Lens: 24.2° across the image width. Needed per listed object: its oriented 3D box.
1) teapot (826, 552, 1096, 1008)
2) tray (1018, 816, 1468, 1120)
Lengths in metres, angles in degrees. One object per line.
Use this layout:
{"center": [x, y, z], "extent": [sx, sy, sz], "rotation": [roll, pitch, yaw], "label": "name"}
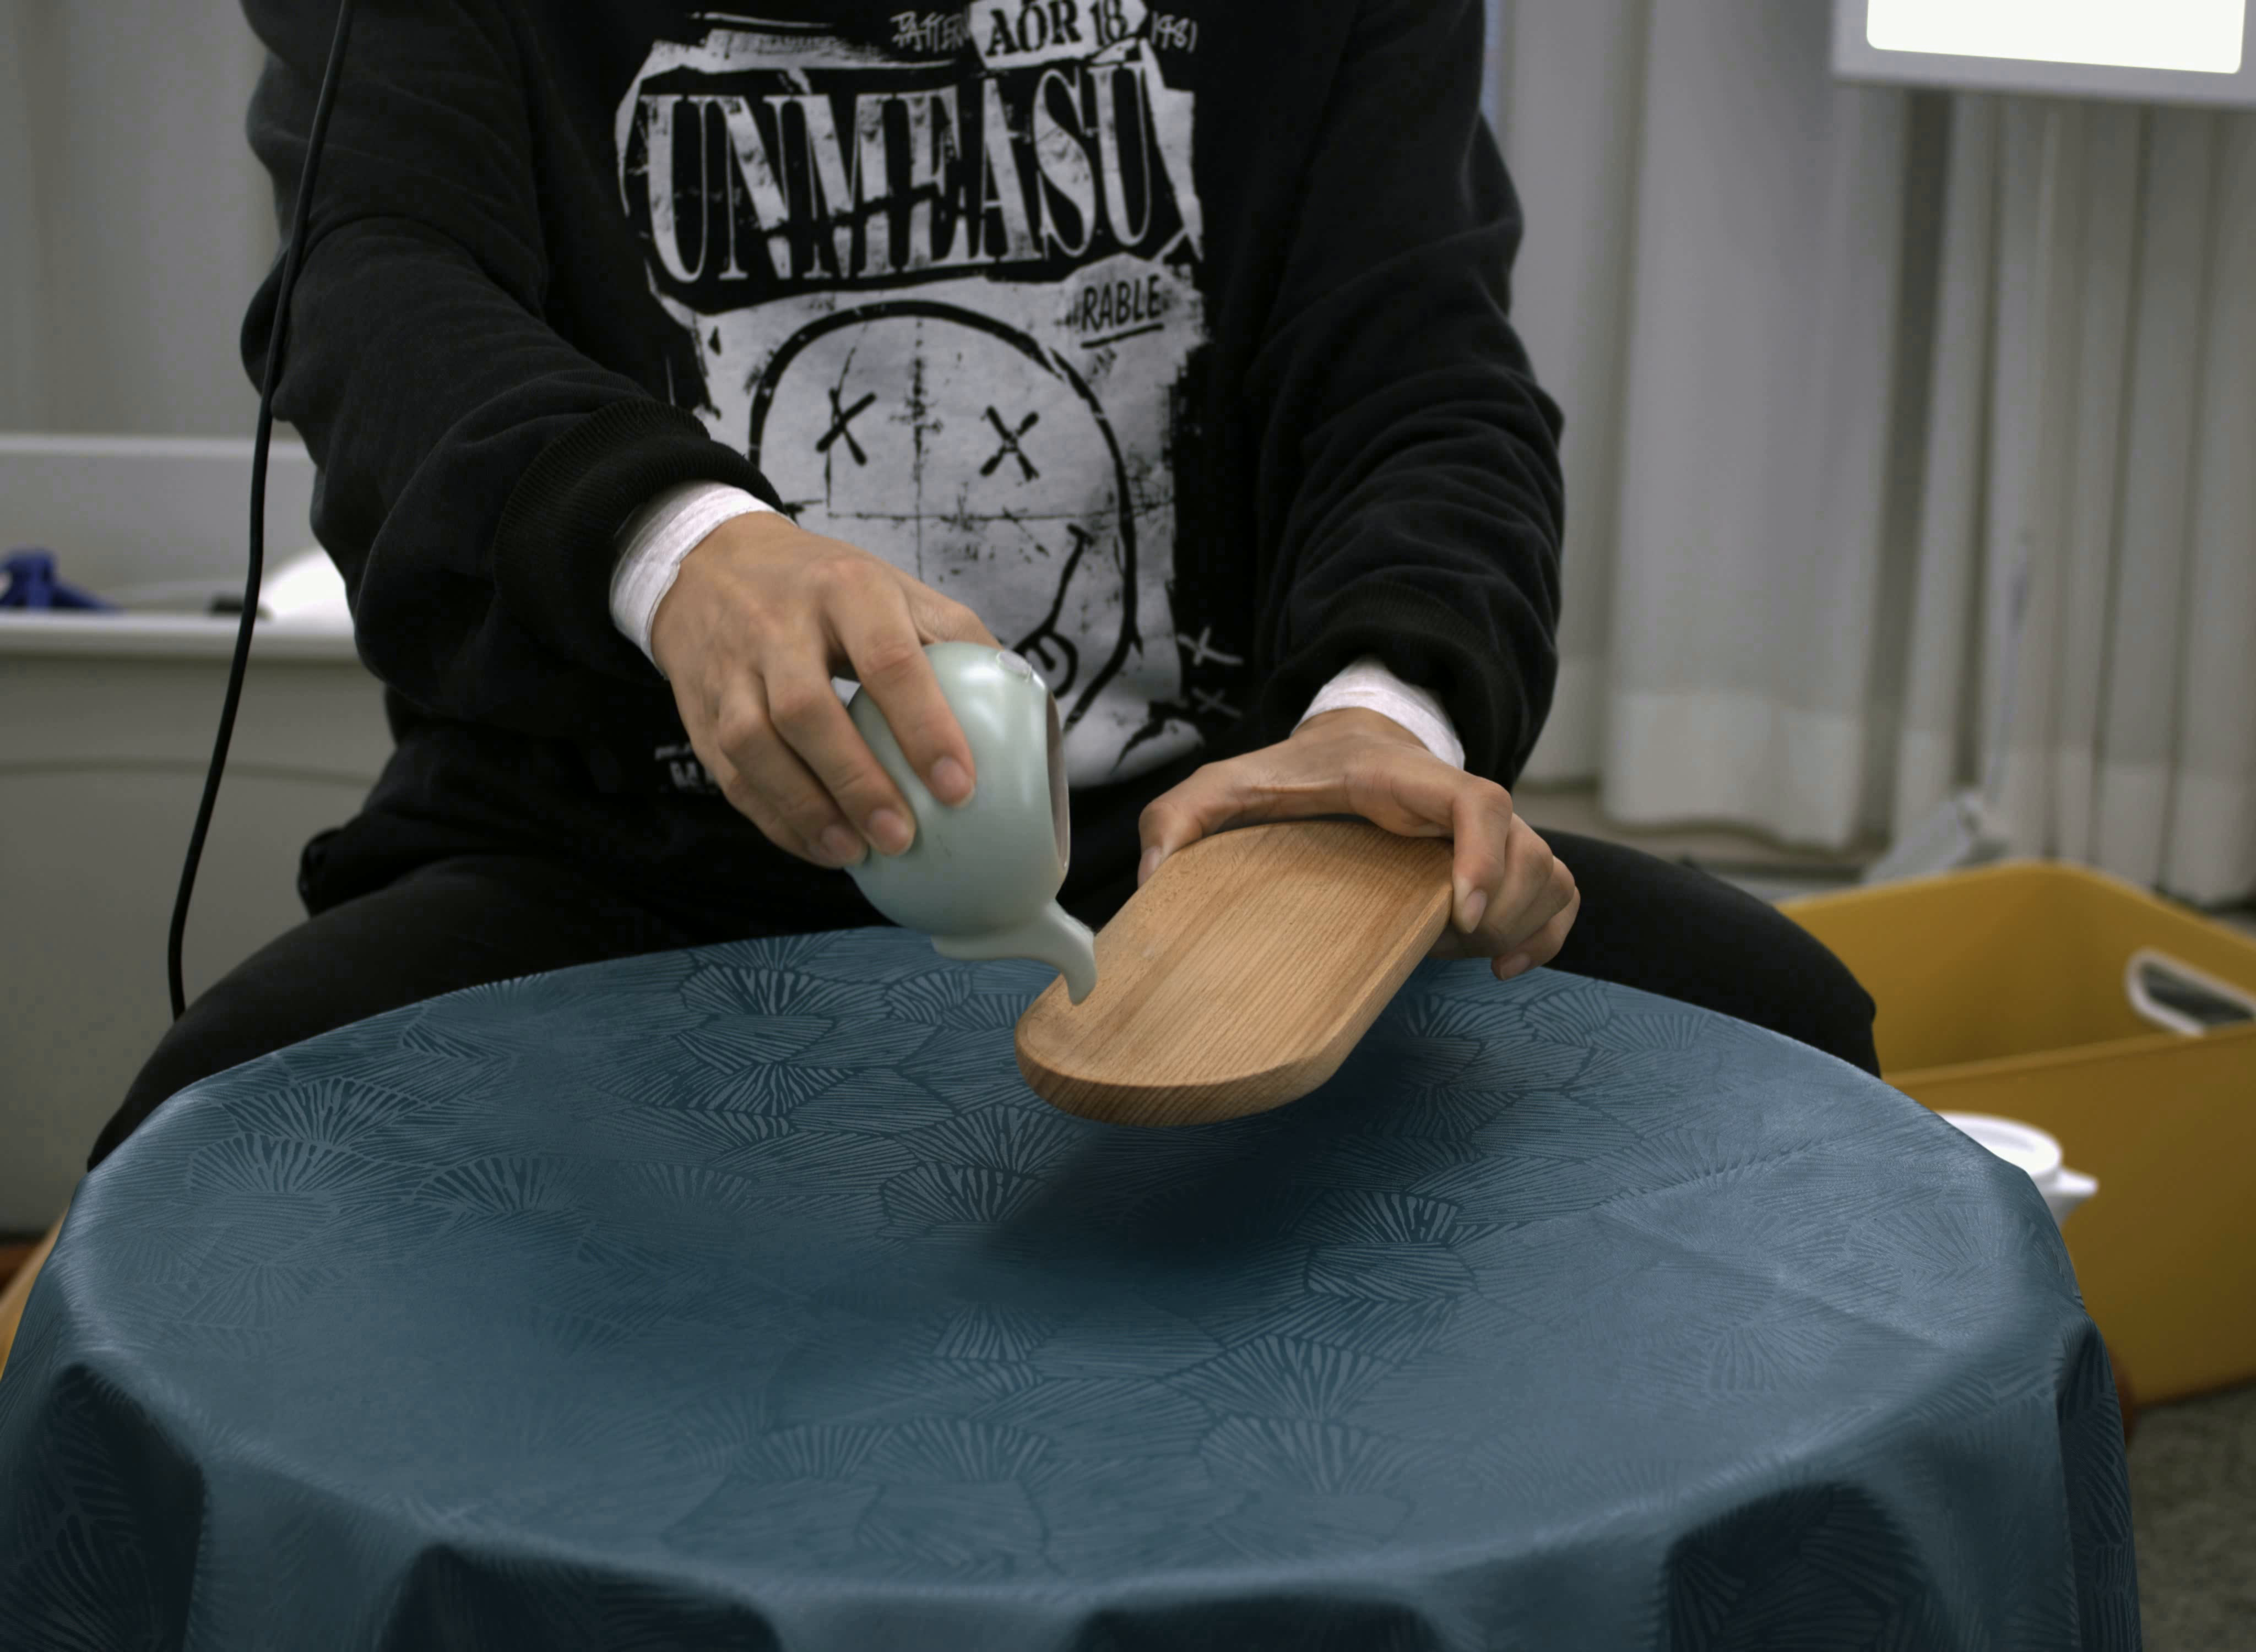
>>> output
{"center": [-0.050, -0.011, 1.560], "extent": [0.074, 0.145, 0.088], "rotation": [-3, 19, 2], "label": "teapot"}
{"center": [0.038, 0.042, 1.634], "extent": [0.101, 0.020, 0.231], "rotation": [5, 20, 18], "label": "tray"}
